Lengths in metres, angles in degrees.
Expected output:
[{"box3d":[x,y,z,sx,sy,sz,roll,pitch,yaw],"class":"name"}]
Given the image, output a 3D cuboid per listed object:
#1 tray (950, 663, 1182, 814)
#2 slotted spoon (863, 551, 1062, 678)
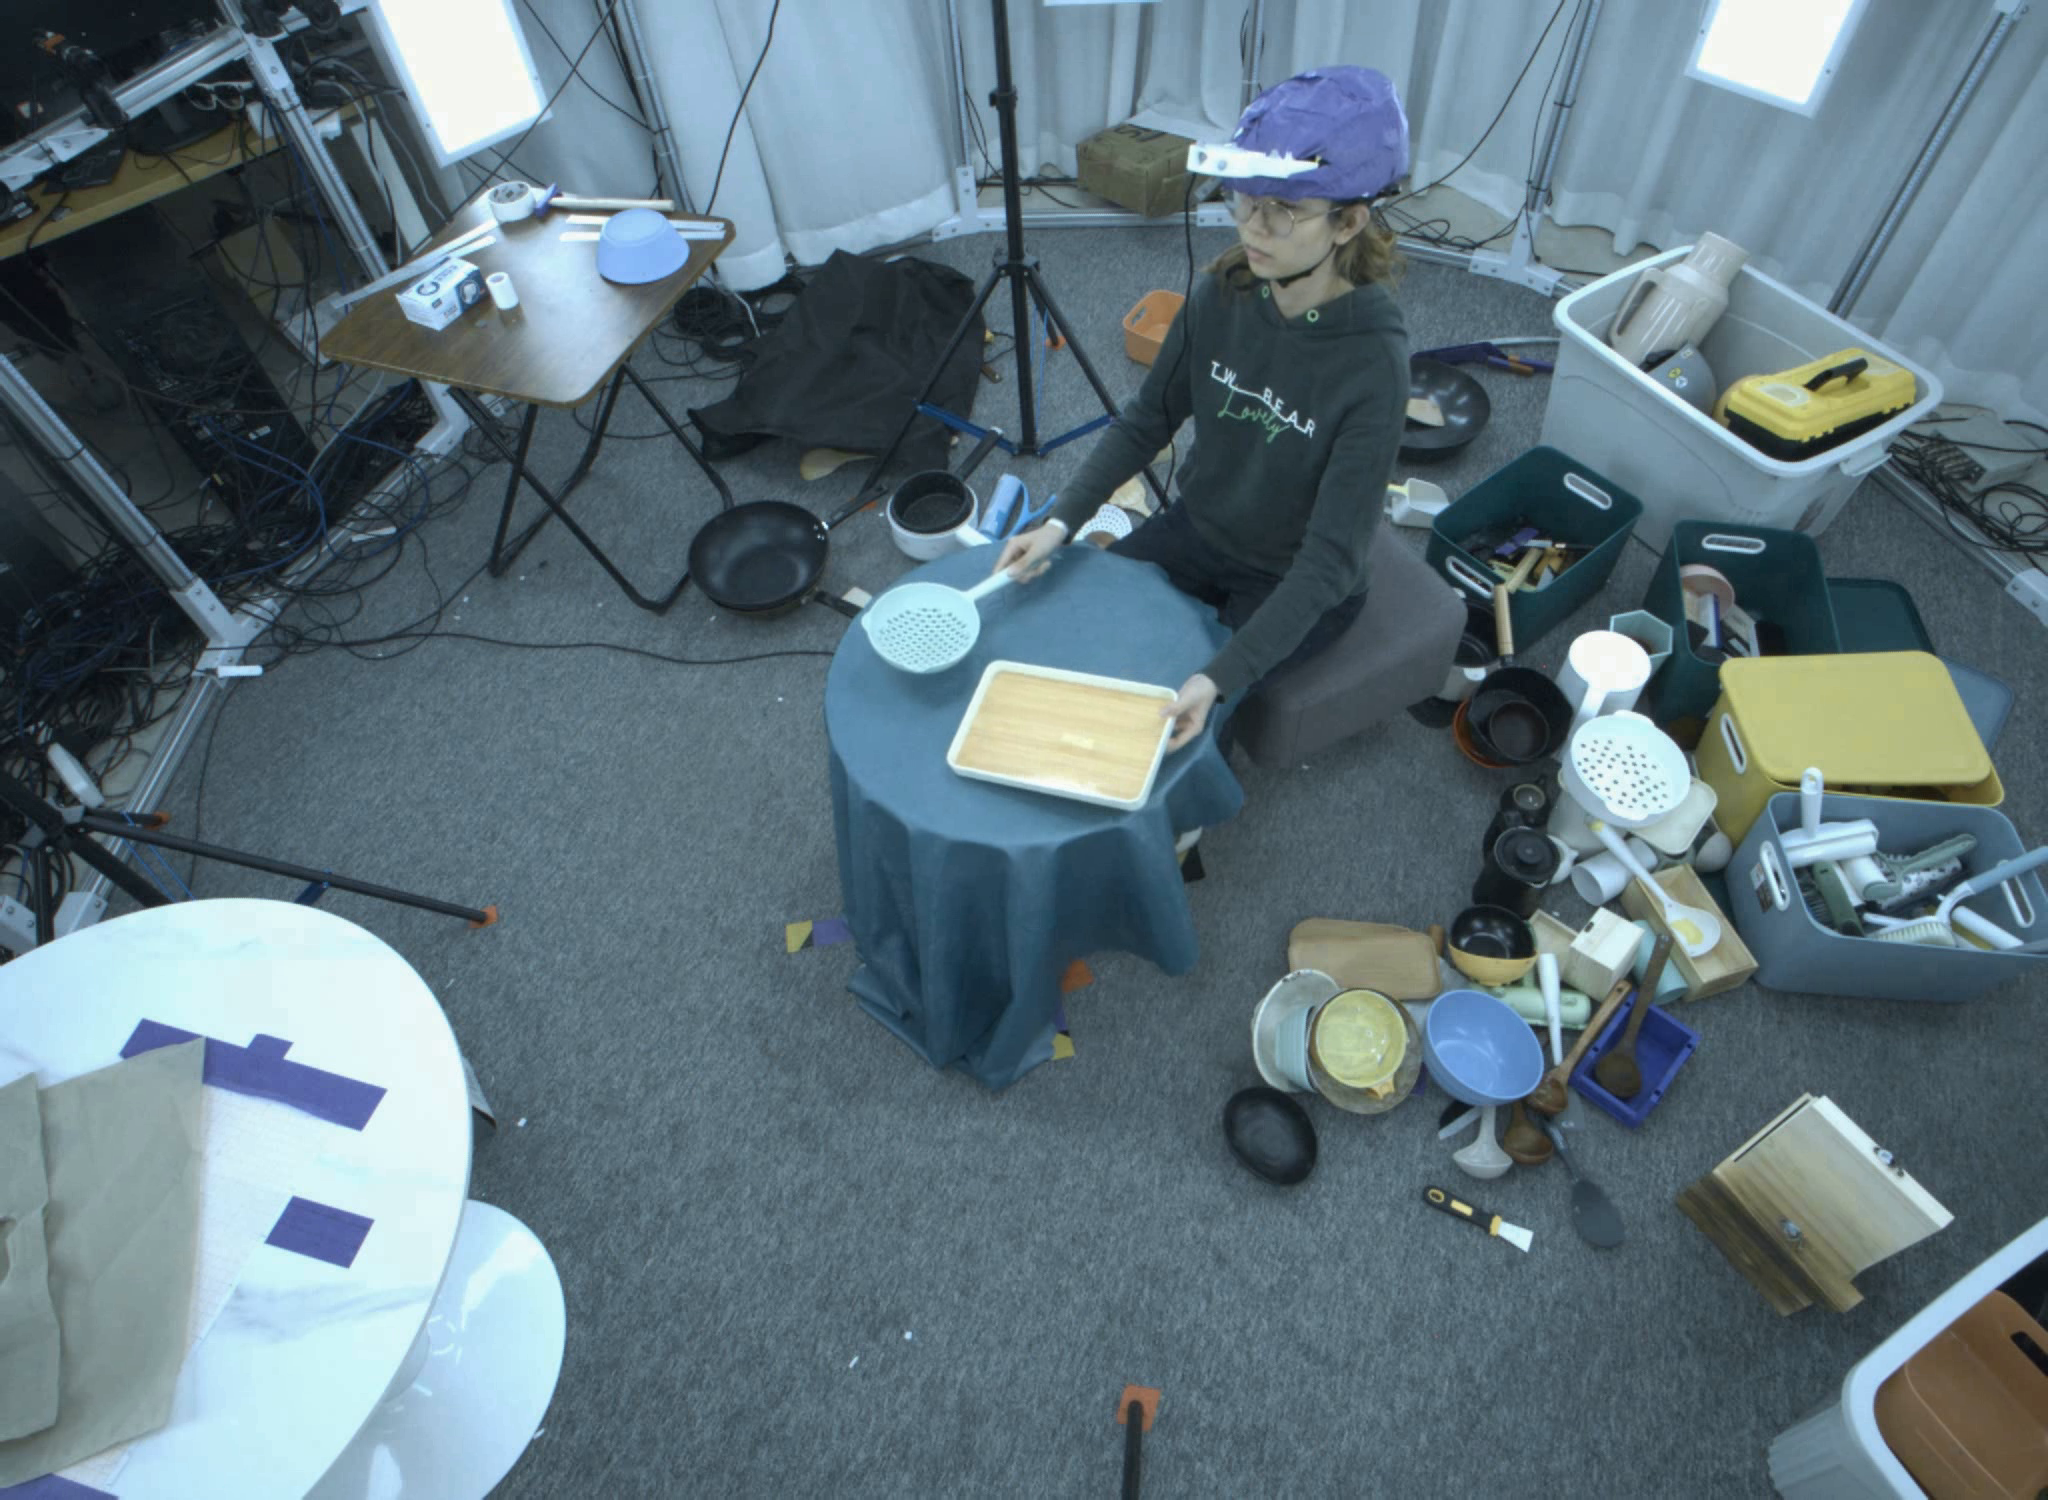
[{"box3d":[0.059,-0.021,1.754,0.296,0.028,0.191,12,63,20],"class":"tray"},{"box3d":[-0.078,-0.229,1.897,0.361,0.076,0.167,-39,68,-19],"class":"slotted spoon"}]
